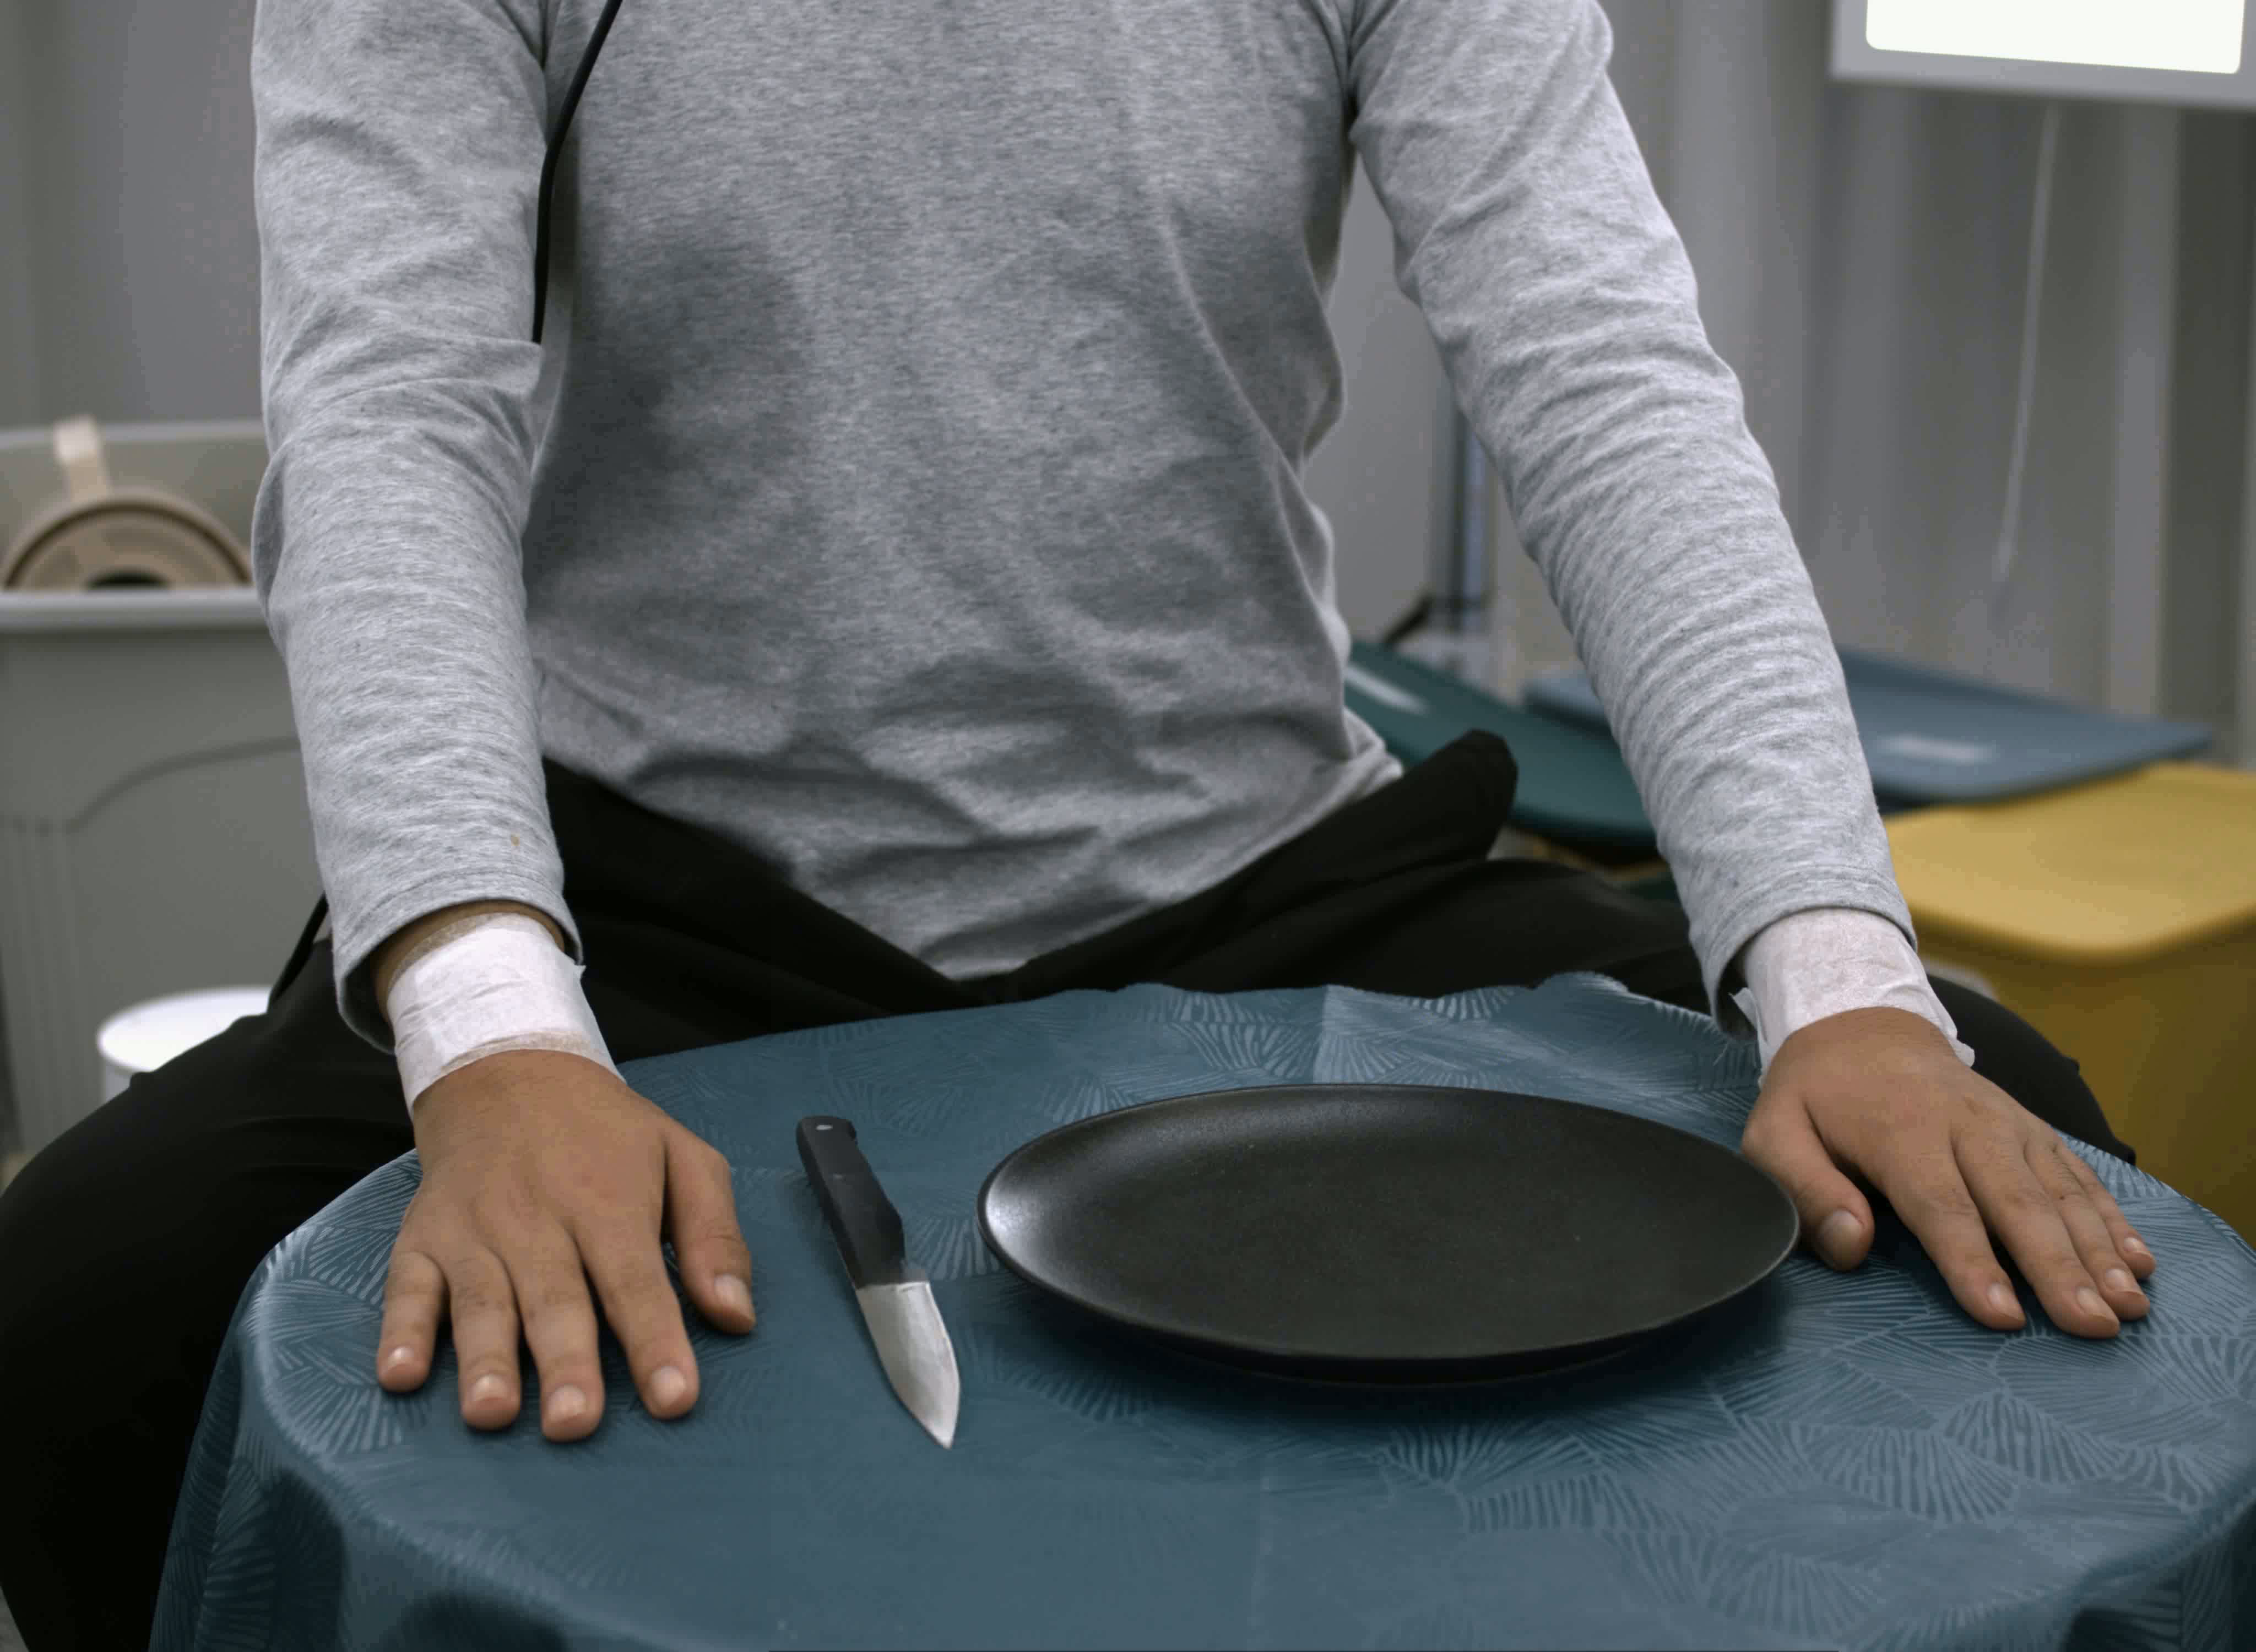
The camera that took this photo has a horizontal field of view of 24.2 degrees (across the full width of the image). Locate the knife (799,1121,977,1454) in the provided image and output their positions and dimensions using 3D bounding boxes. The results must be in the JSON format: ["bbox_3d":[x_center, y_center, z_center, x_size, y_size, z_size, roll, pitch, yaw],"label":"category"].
[{"bbox_3d":[-0.071,0.133,1.528,0.024,0.016,0.236,-4,19,-12],"label":"knife"}]

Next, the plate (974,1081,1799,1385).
[{"bbox_3d":[0.075,0.122,1.551,0.243,0.023,0.243,1,15,0],"label":"plate"}]
